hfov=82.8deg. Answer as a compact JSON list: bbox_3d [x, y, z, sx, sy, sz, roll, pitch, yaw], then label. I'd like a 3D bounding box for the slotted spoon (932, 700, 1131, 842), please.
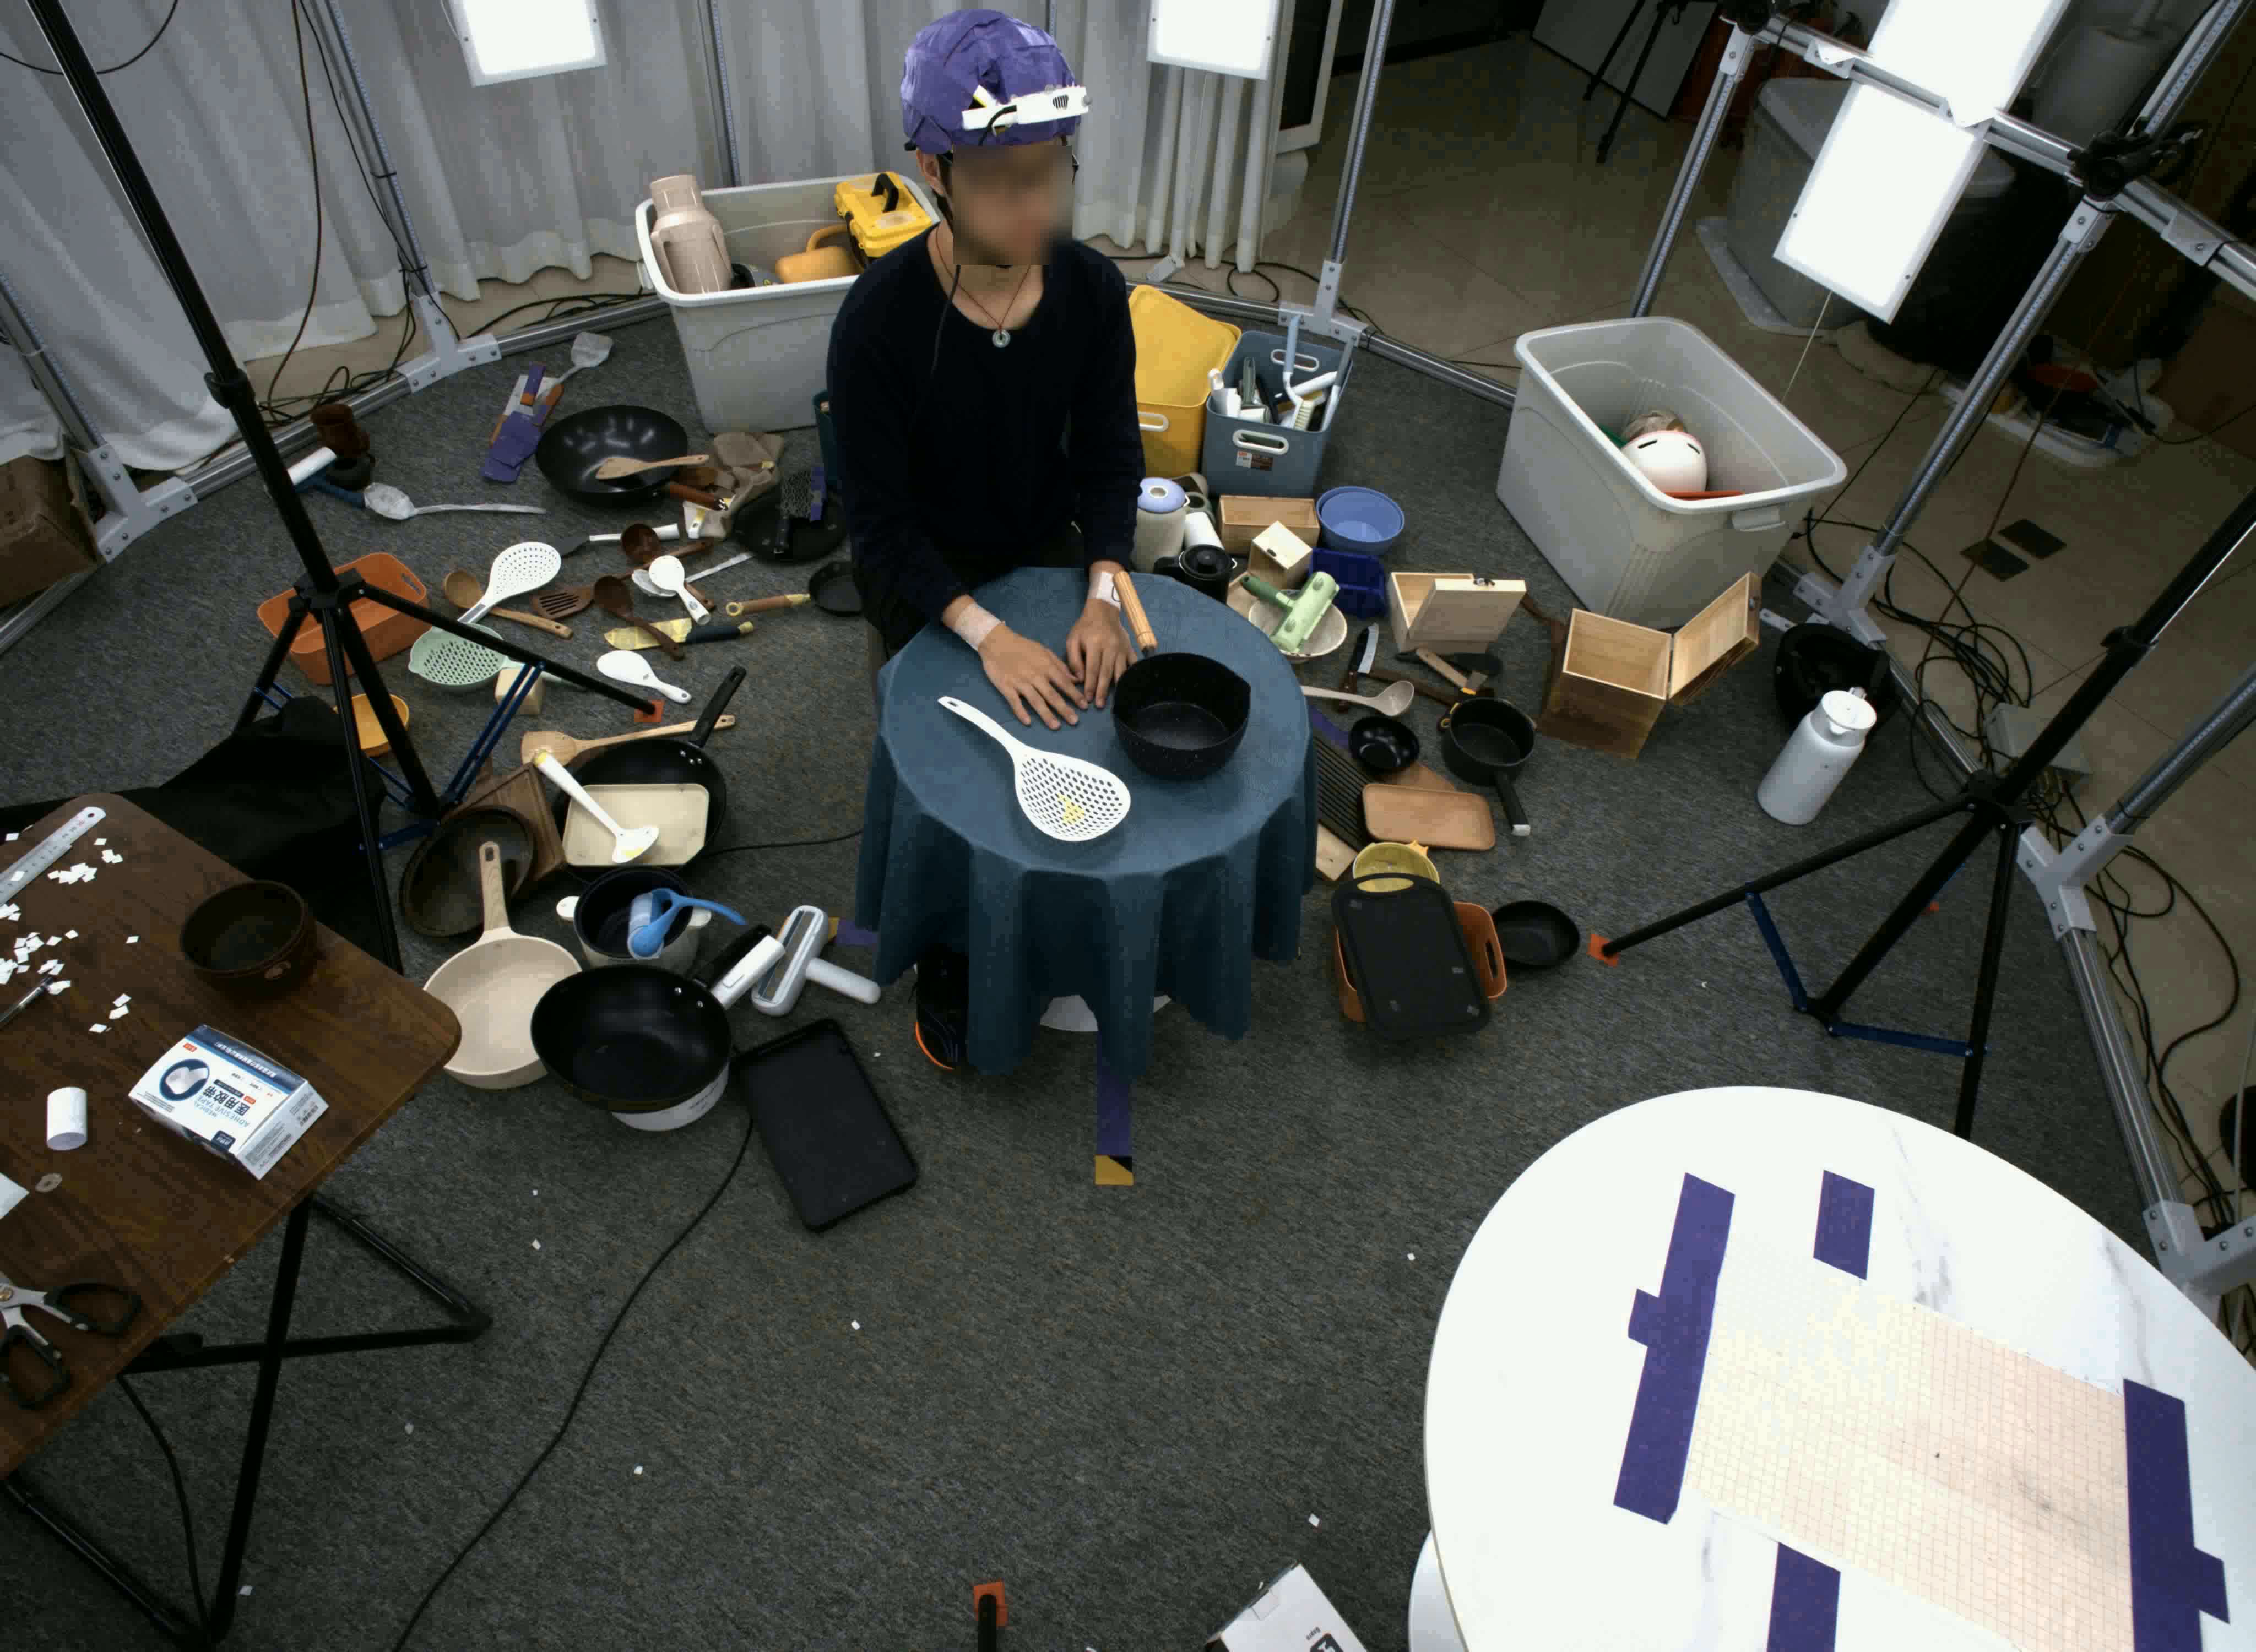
[{"bbox_3d":[-0.142,-0.088,1.707,0.138,0.049,0.353,-35,61,-27],"label":"slotted spoon"}]

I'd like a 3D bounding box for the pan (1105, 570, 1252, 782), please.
[{"bbox_3d":[0.042,-0.209,1.783,0.207,0.105,0.351,-15,53,-15],"label":"pan"}]
